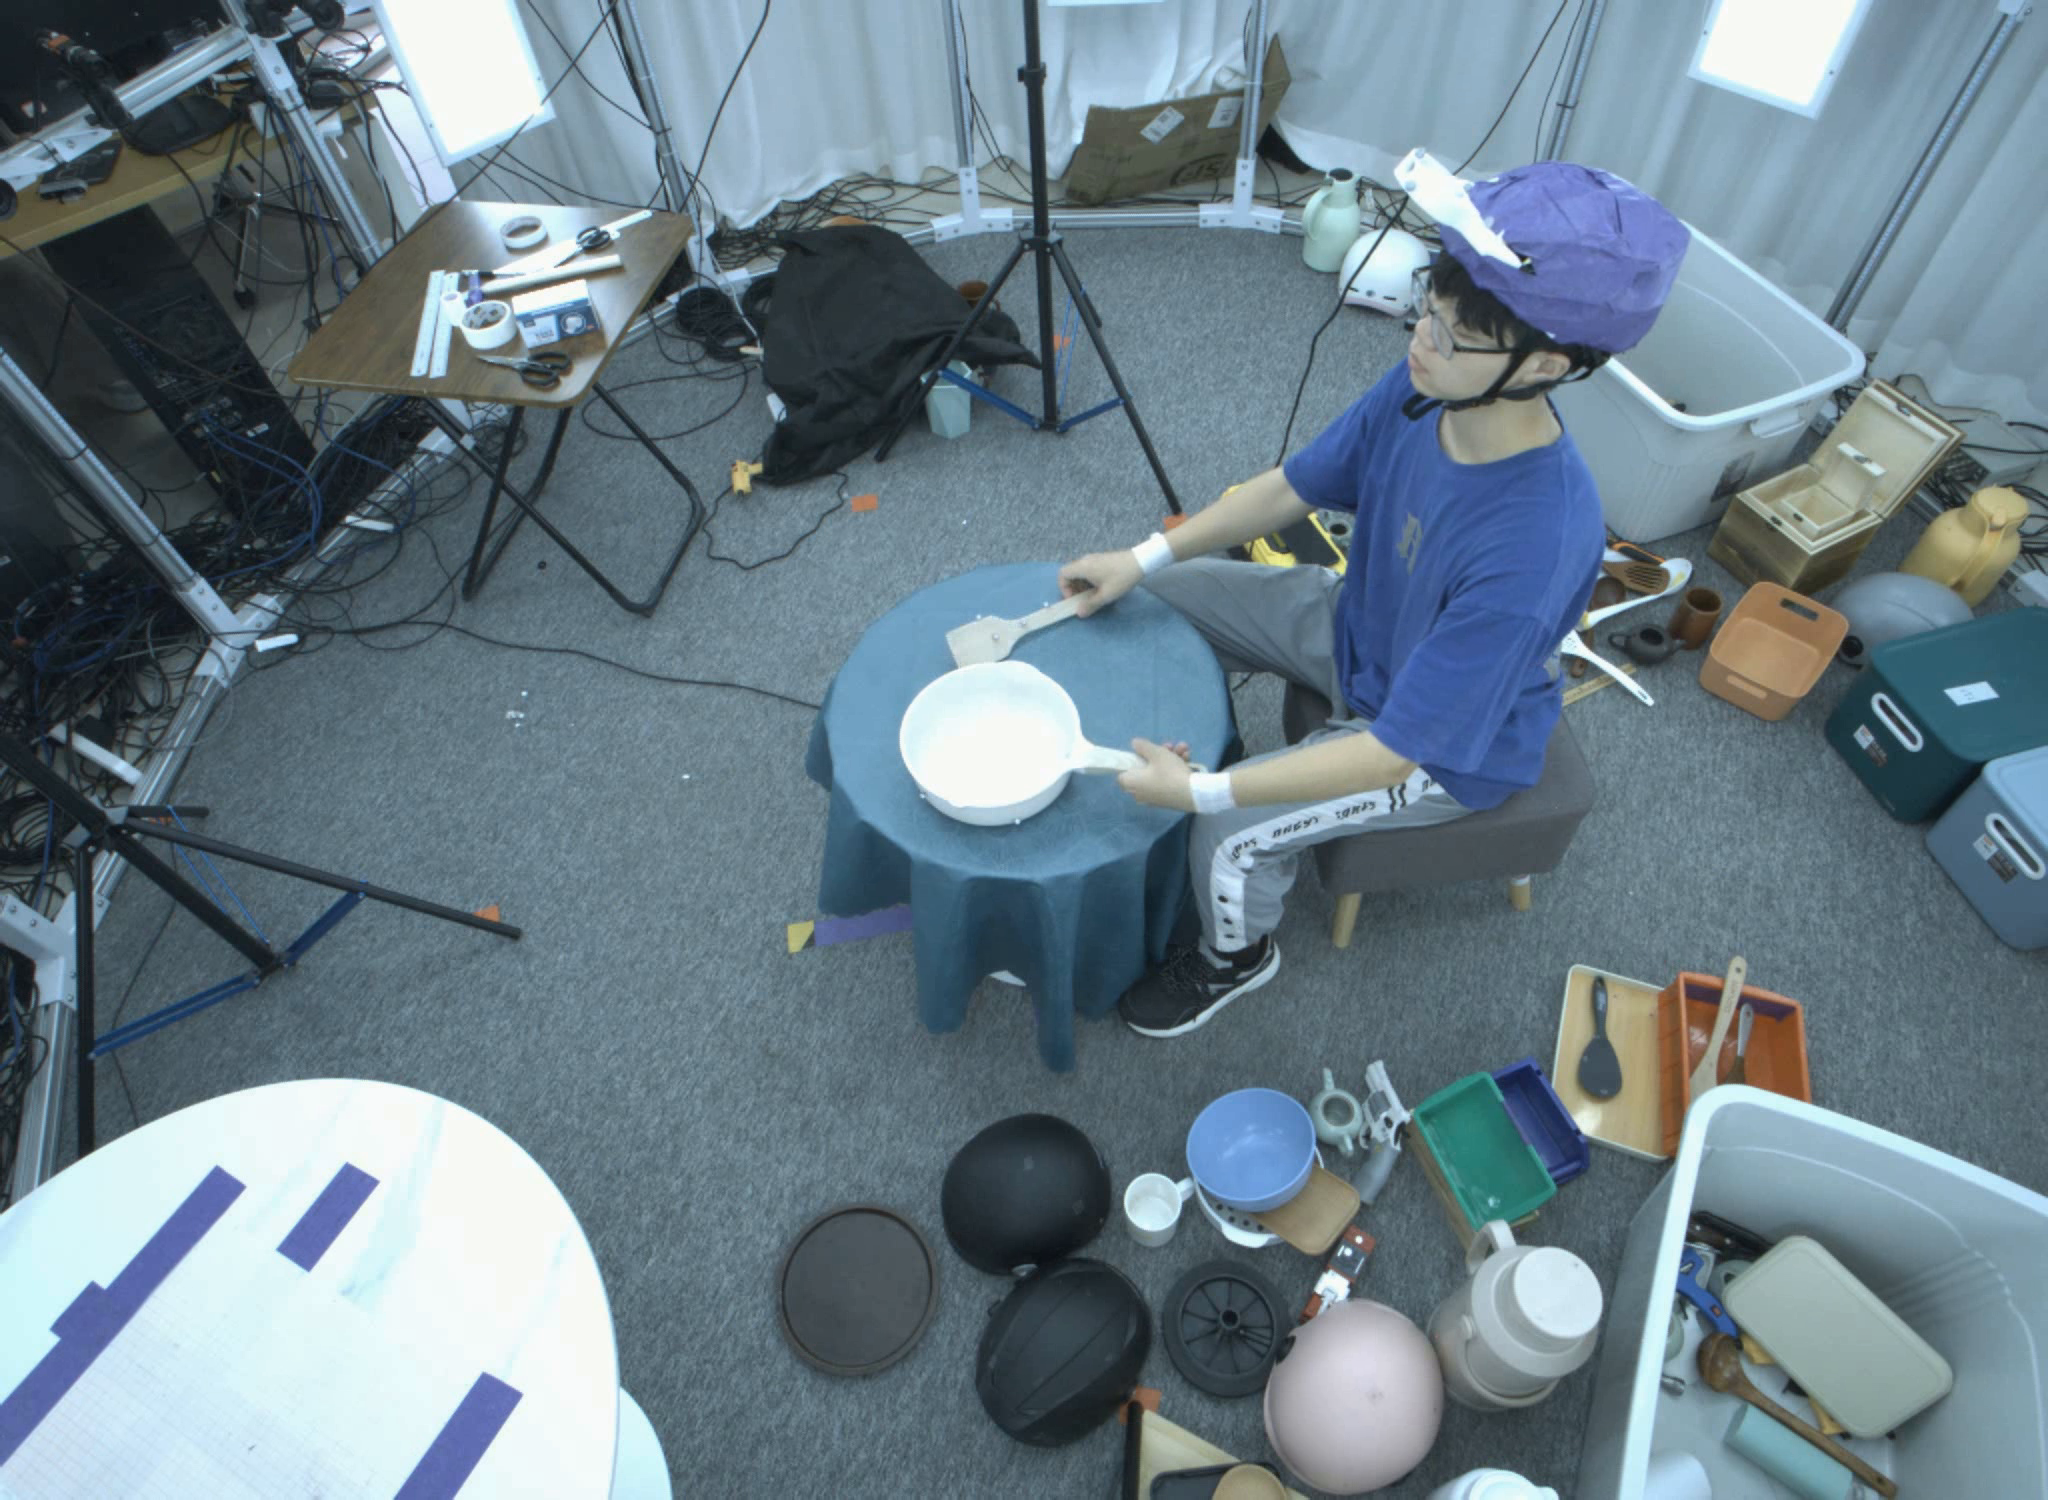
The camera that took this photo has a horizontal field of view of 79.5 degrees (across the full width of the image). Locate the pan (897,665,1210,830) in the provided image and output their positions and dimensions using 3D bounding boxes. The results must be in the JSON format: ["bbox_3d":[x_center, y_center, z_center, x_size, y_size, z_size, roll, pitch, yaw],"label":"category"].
[{"bbox_3d":[0.040,0.018,1.702,0.431,0.103,0.262,13,54,11],"label":"pan"}]

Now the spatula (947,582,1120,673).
[{"bbox_3d":[0.020,-0.200,1.899,0.296,0.010,0.072,-24,92,-18],"label":"spatula"}]
